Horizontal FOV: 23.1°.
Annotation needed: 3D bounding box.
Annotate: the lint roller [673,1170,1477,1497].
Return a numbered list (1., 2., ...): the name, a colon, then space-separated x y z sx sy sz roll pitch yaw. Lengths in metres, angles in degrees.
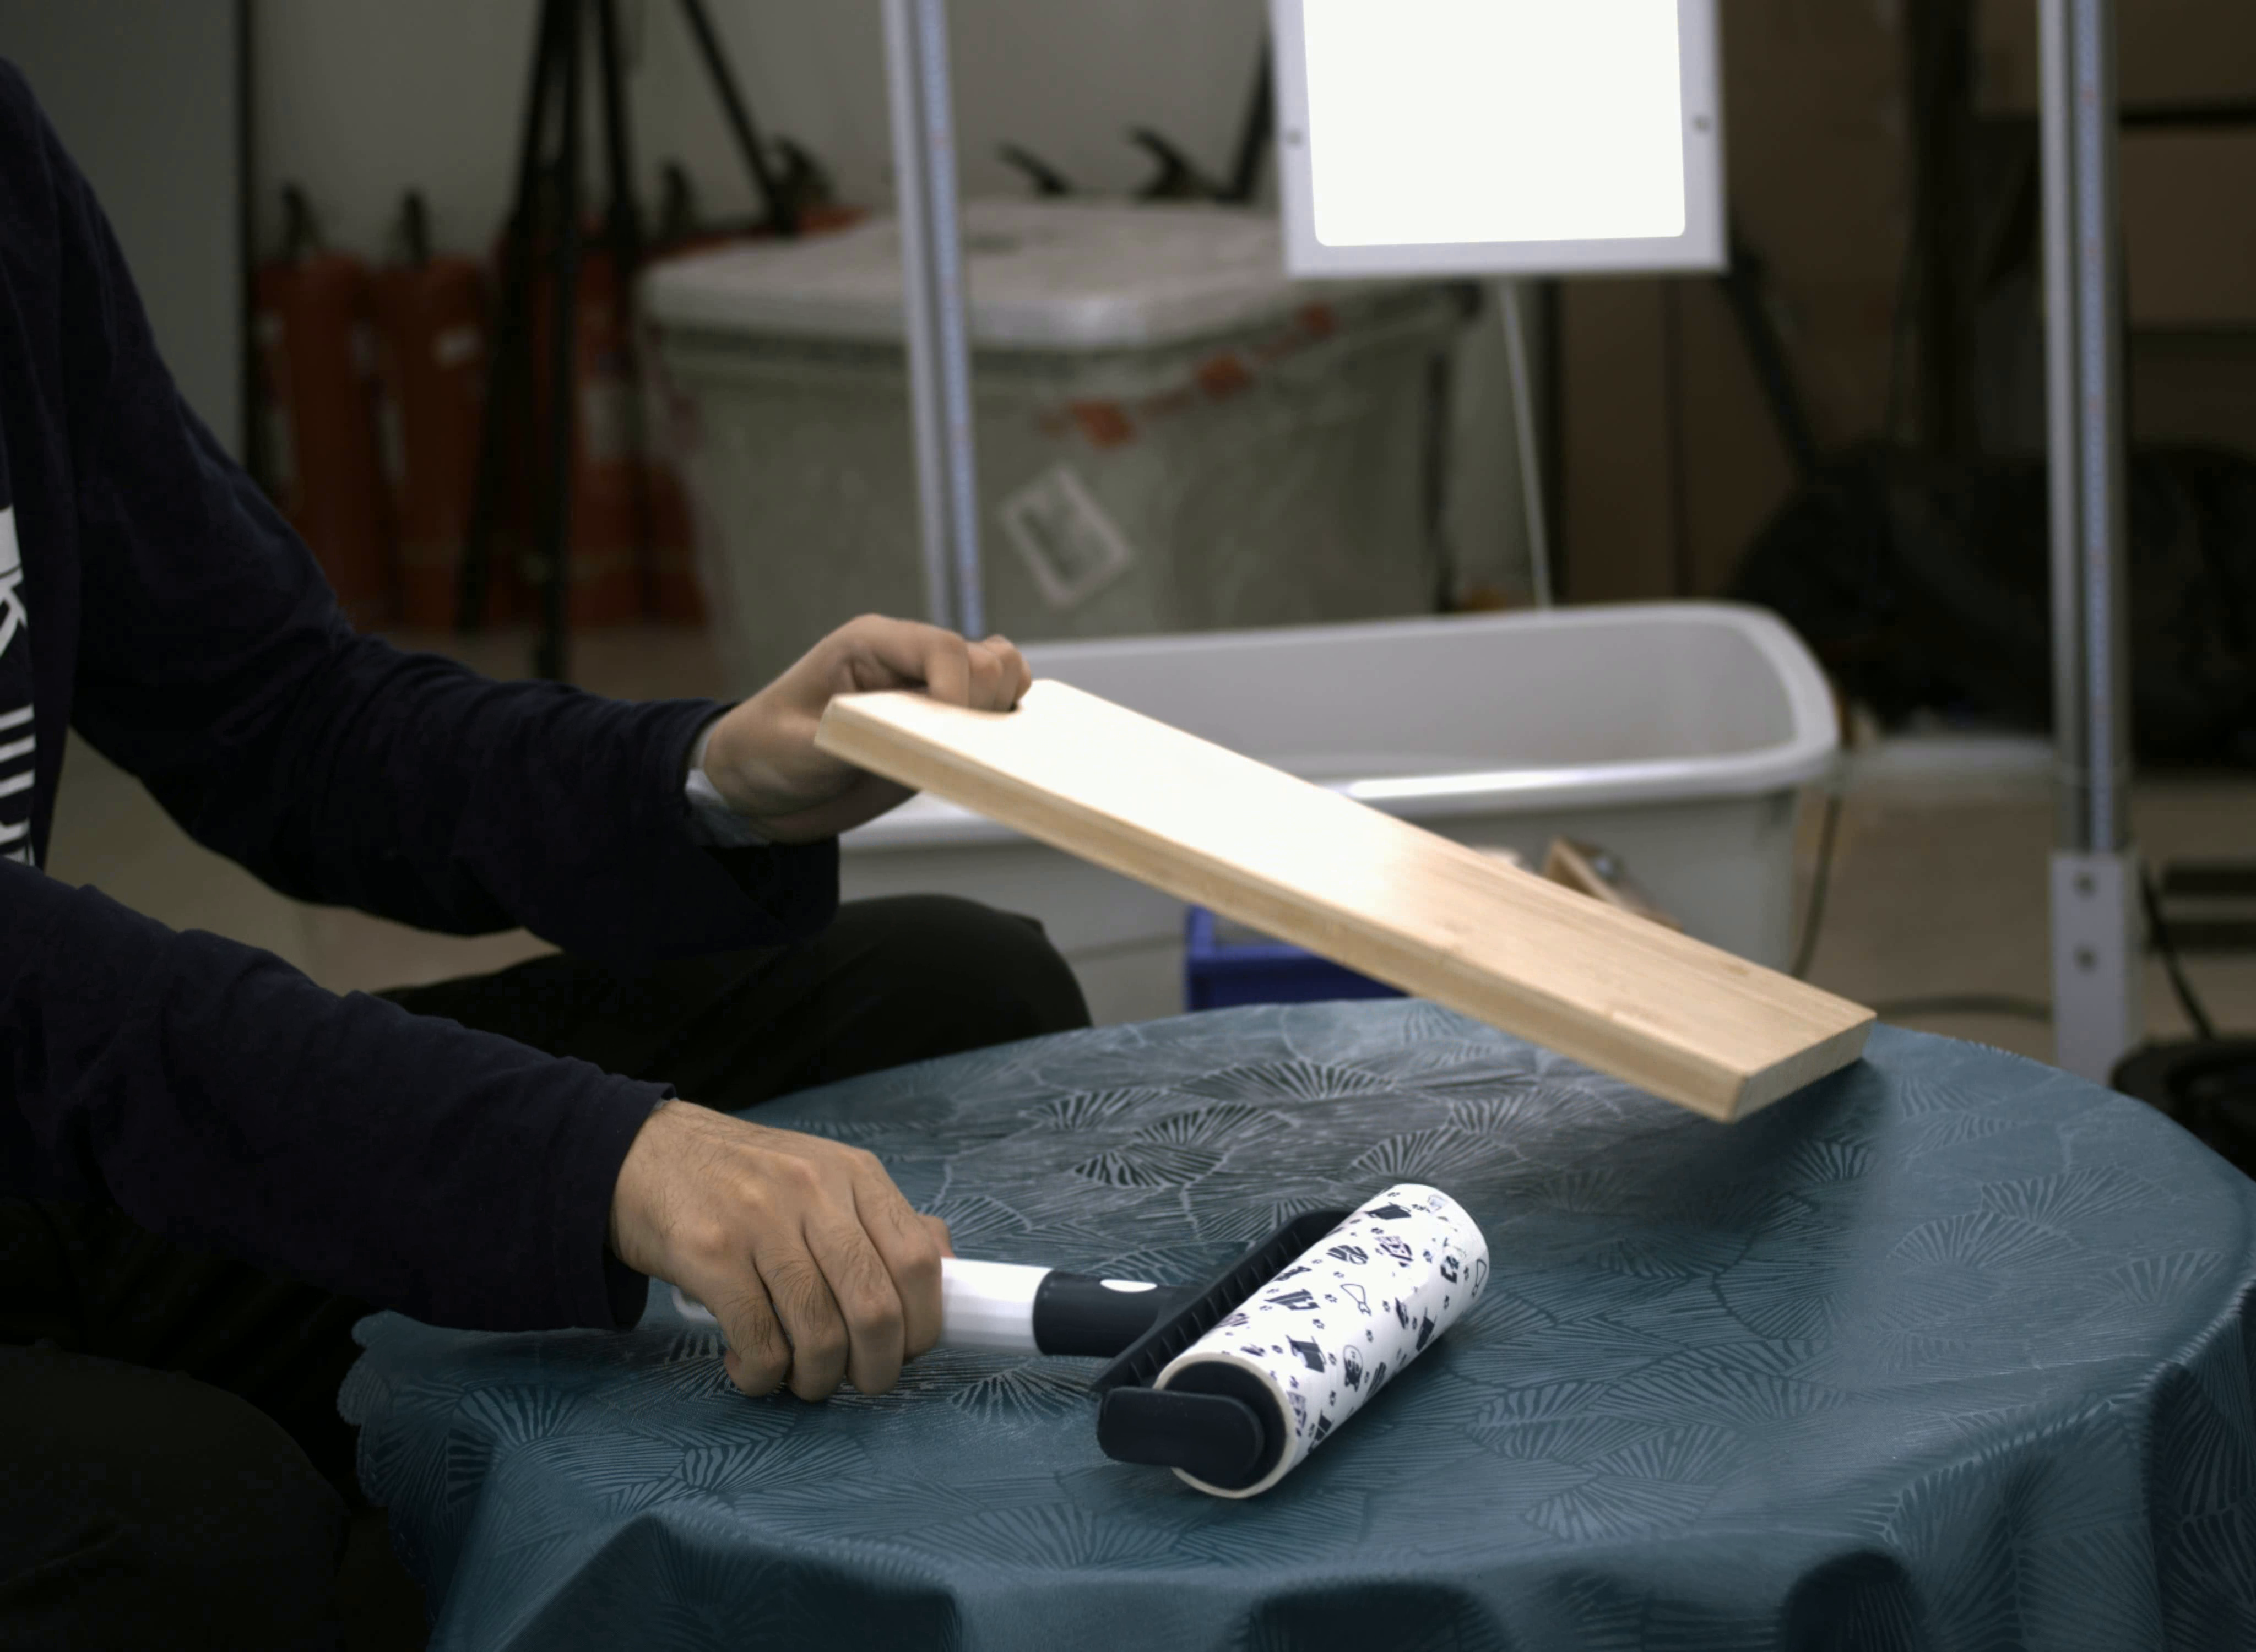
1. lint roller: -0.033 0.151 1.713 0.251 0.050 0.172 1 17 26

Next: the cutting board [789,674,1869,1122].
1. cutting board: 0.076 0.021 1.925 0.352 0.024 0.247 22 10 16
